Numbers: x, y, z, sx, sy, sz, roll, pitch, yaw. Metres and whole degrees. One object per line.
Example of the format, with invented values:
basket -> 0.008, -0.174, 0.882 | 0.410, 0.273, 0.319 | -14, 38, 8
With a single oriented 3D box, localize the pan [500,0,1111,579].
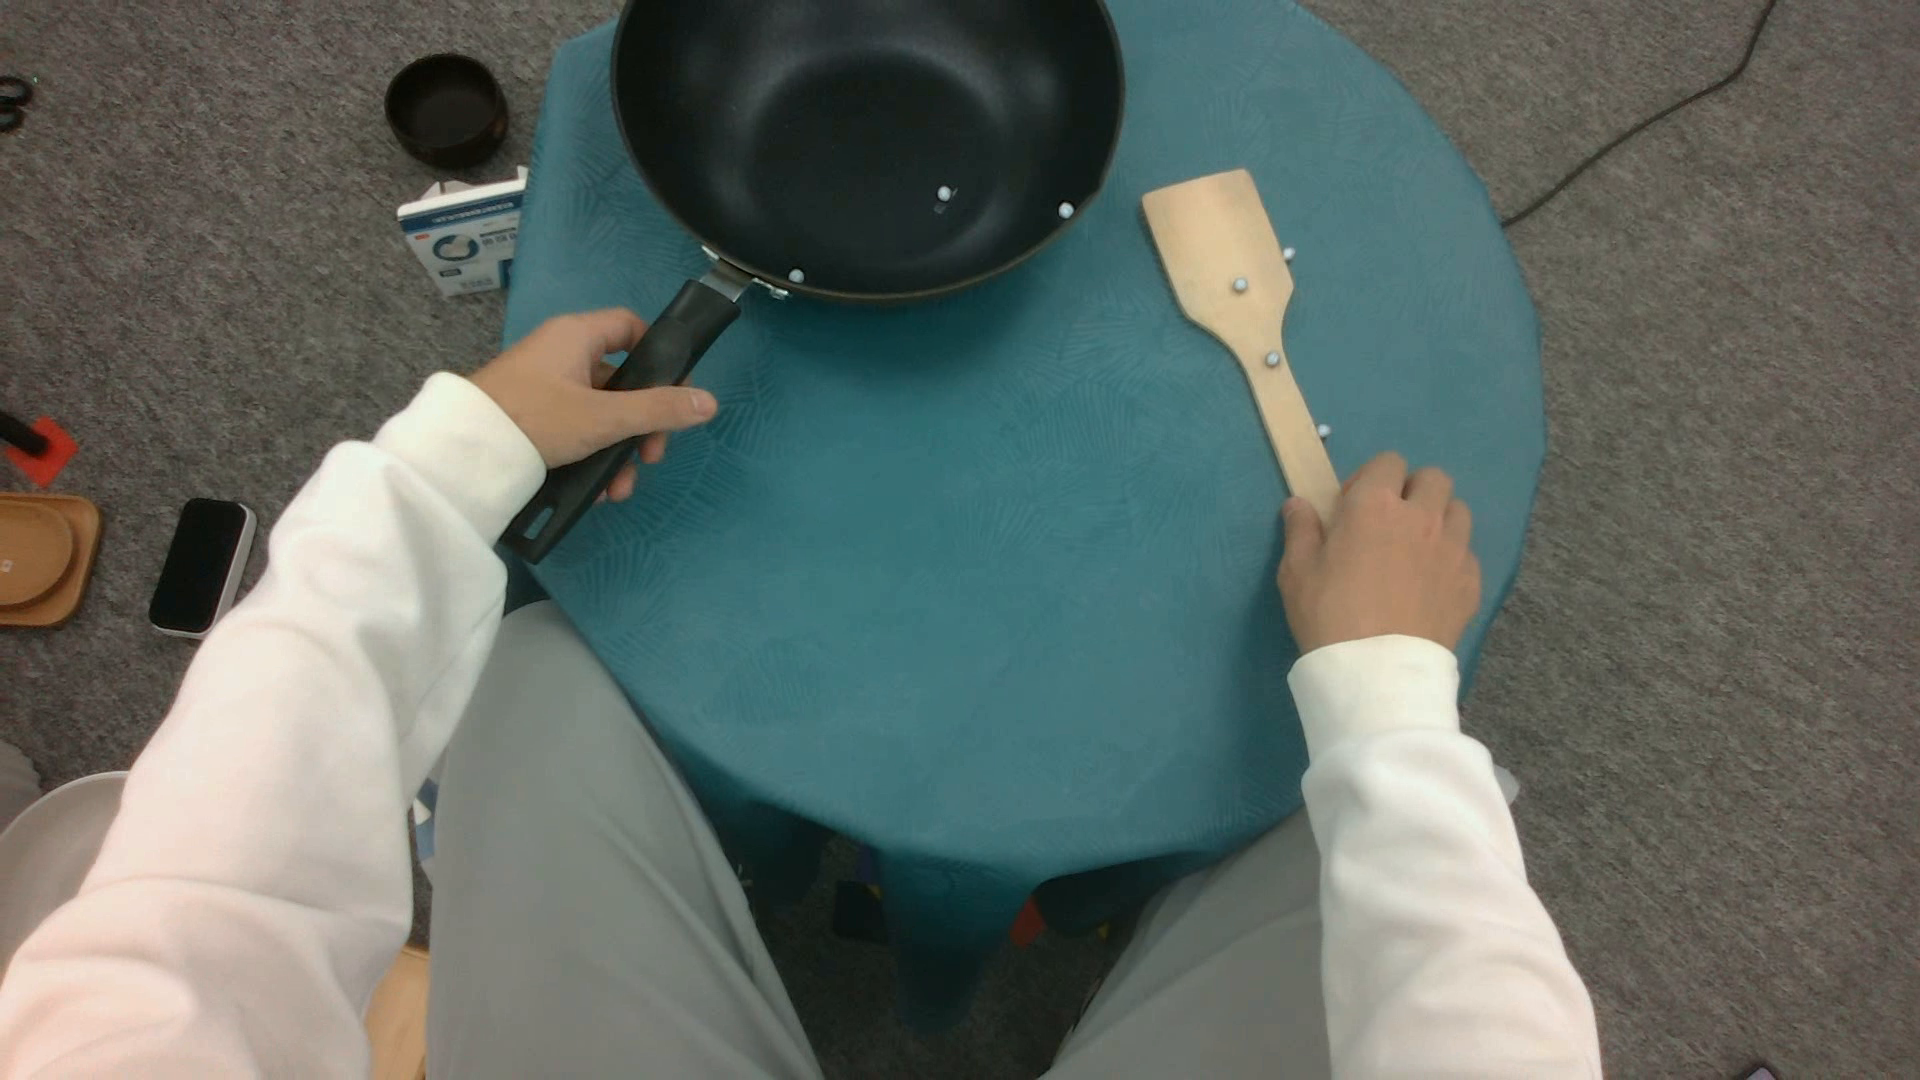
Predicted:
pan -> -0.100, -0.162, 0.781 | 0.288, 0.086, 0.464 | 27, 73, 9

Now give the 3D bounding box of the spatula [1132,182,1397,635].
spatula -> 0.183, -0.080, 0.797 | 0.072, 0.010, 0.293 | -17, 71, -7
